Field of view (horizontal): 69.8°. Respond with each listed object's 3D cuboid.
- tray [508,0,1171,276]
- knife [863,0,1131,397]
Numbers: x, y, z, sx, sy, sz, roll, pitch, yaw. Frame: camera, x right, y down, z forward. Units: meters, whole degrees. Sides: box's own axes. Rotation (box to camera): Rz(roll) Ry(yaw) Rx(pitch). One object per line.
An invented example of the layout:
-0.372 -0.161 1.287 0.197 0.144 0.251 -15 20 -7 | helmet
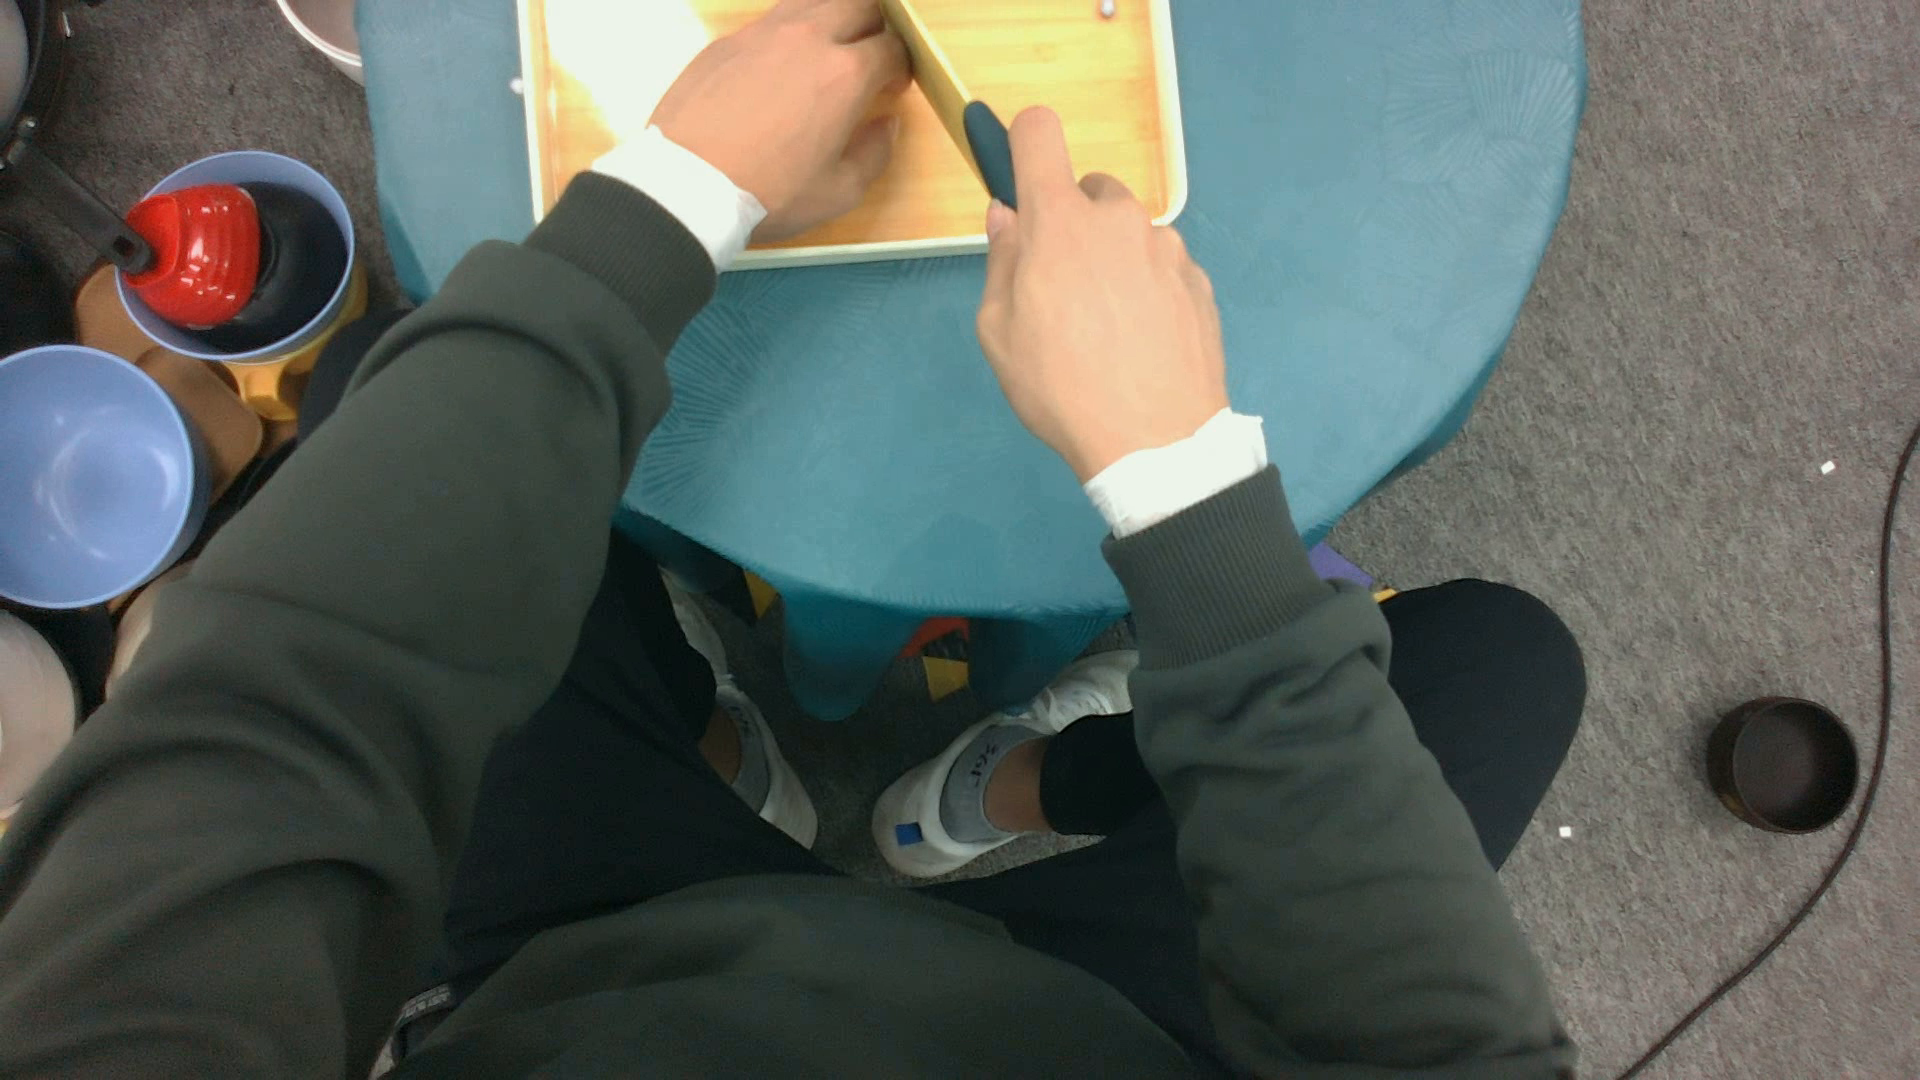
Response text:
-0.056 -0.230 0.653 0.300 0.027 0.191 -5 87 -5 | tray
-0.003 -0.175 0.593 0.027 0.081 0.290 -29 69 1 | knife
